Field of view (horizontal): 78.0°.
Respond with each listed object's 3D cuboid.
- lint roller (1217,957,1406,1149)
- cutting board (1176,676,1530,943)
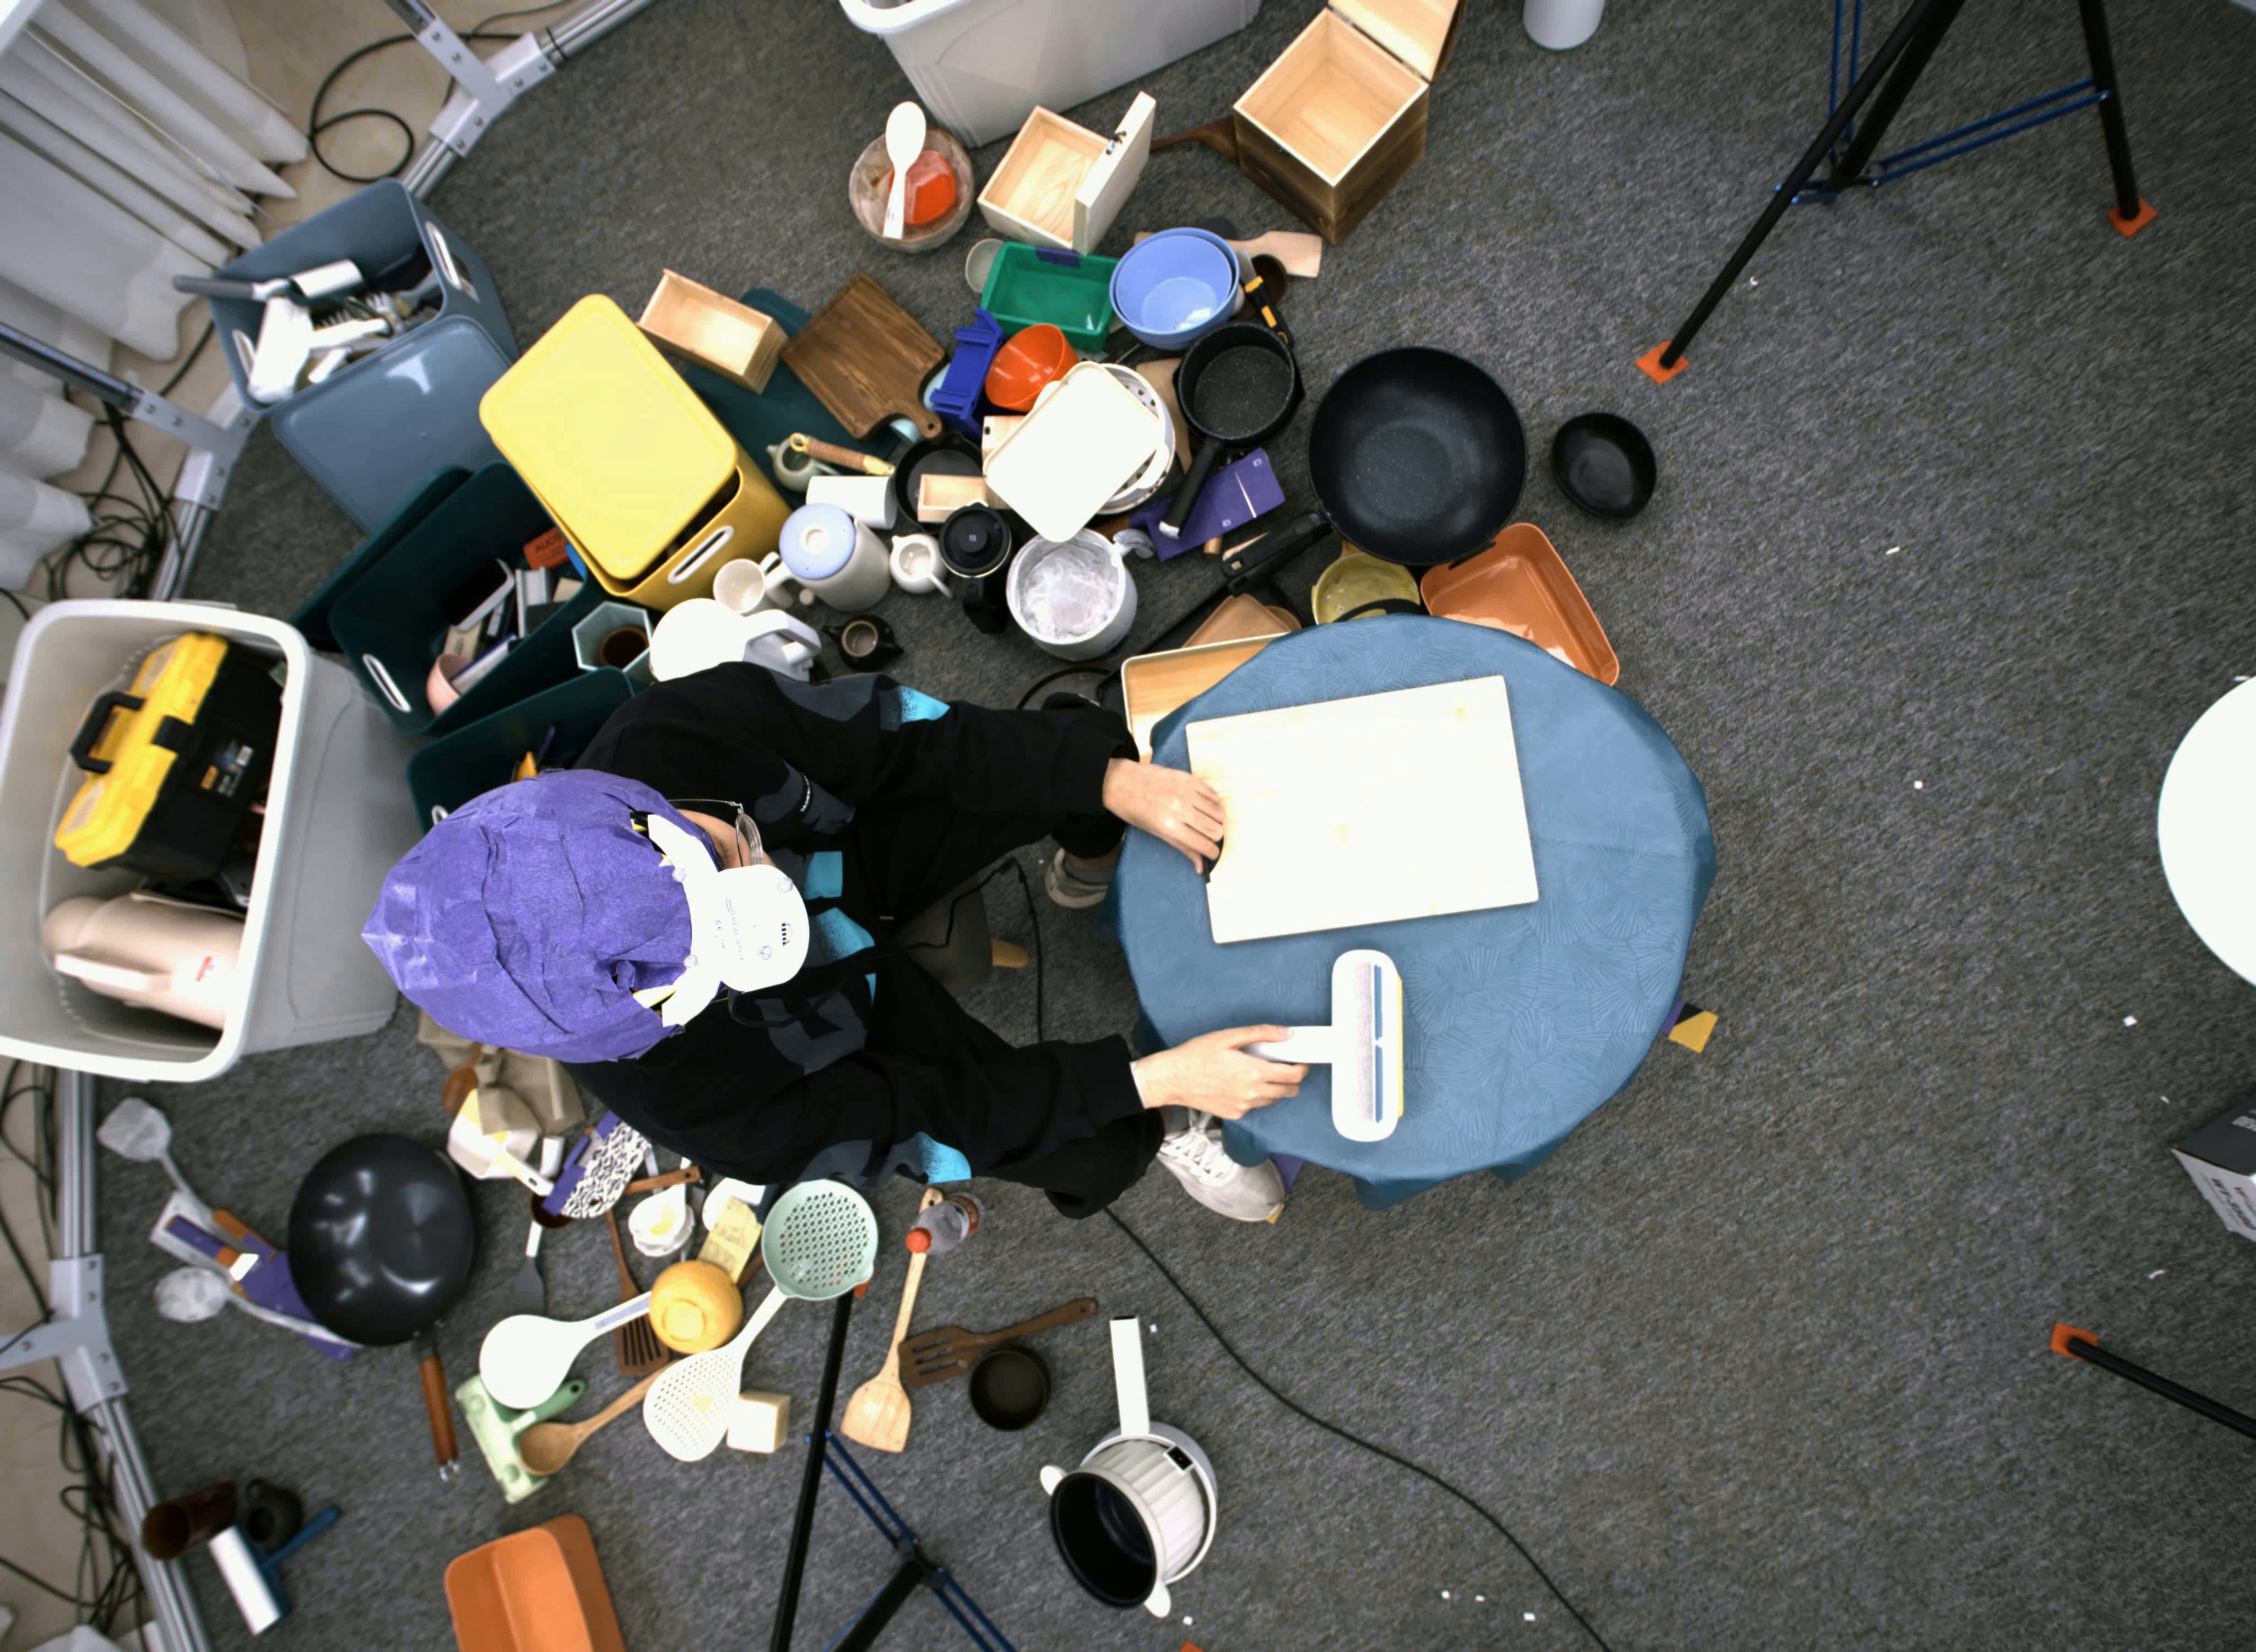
[{"bbox_3d":[0.185,0.227,1.429,0.193,0.074,0.191,3,82,12],"label":"lint roller"},{"bbox_3d":[0.237,-0.017,1.458,0.350,0.023,0.249,-9,85,10],"label":"cutting board"}]
